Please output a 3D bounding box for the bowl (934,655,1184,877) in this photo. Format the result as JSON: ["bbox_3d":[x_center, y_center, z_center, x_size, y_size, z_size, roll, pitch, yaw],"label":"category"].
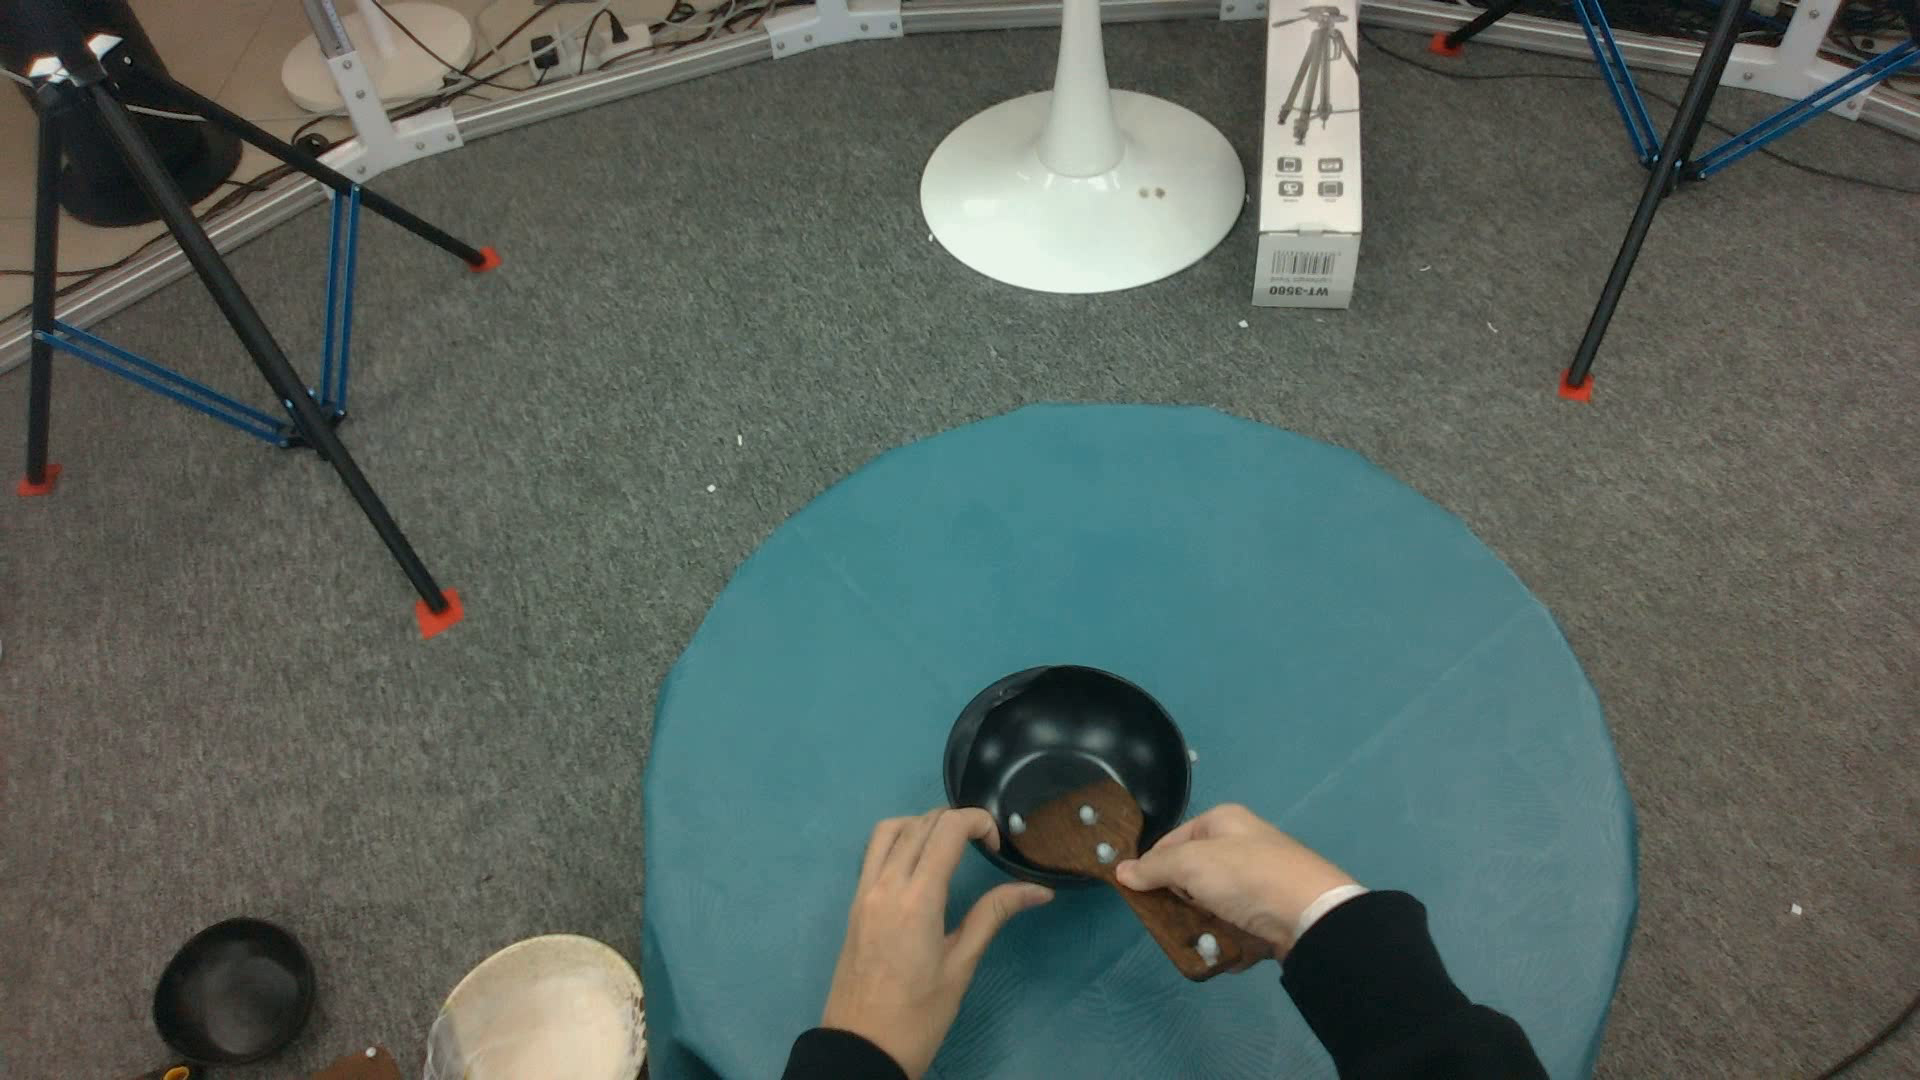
[{"bbox_3d":[0.054,0.134,0.778,0.140,0.049,0.140,2,47,-2],"label":"bowl"}]

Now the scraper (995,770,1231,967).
[{"bbox_3d":[0.080,0.164,0.694,0.076,0.011,0.211,-21,14,-12],"label":"scraper"}]
